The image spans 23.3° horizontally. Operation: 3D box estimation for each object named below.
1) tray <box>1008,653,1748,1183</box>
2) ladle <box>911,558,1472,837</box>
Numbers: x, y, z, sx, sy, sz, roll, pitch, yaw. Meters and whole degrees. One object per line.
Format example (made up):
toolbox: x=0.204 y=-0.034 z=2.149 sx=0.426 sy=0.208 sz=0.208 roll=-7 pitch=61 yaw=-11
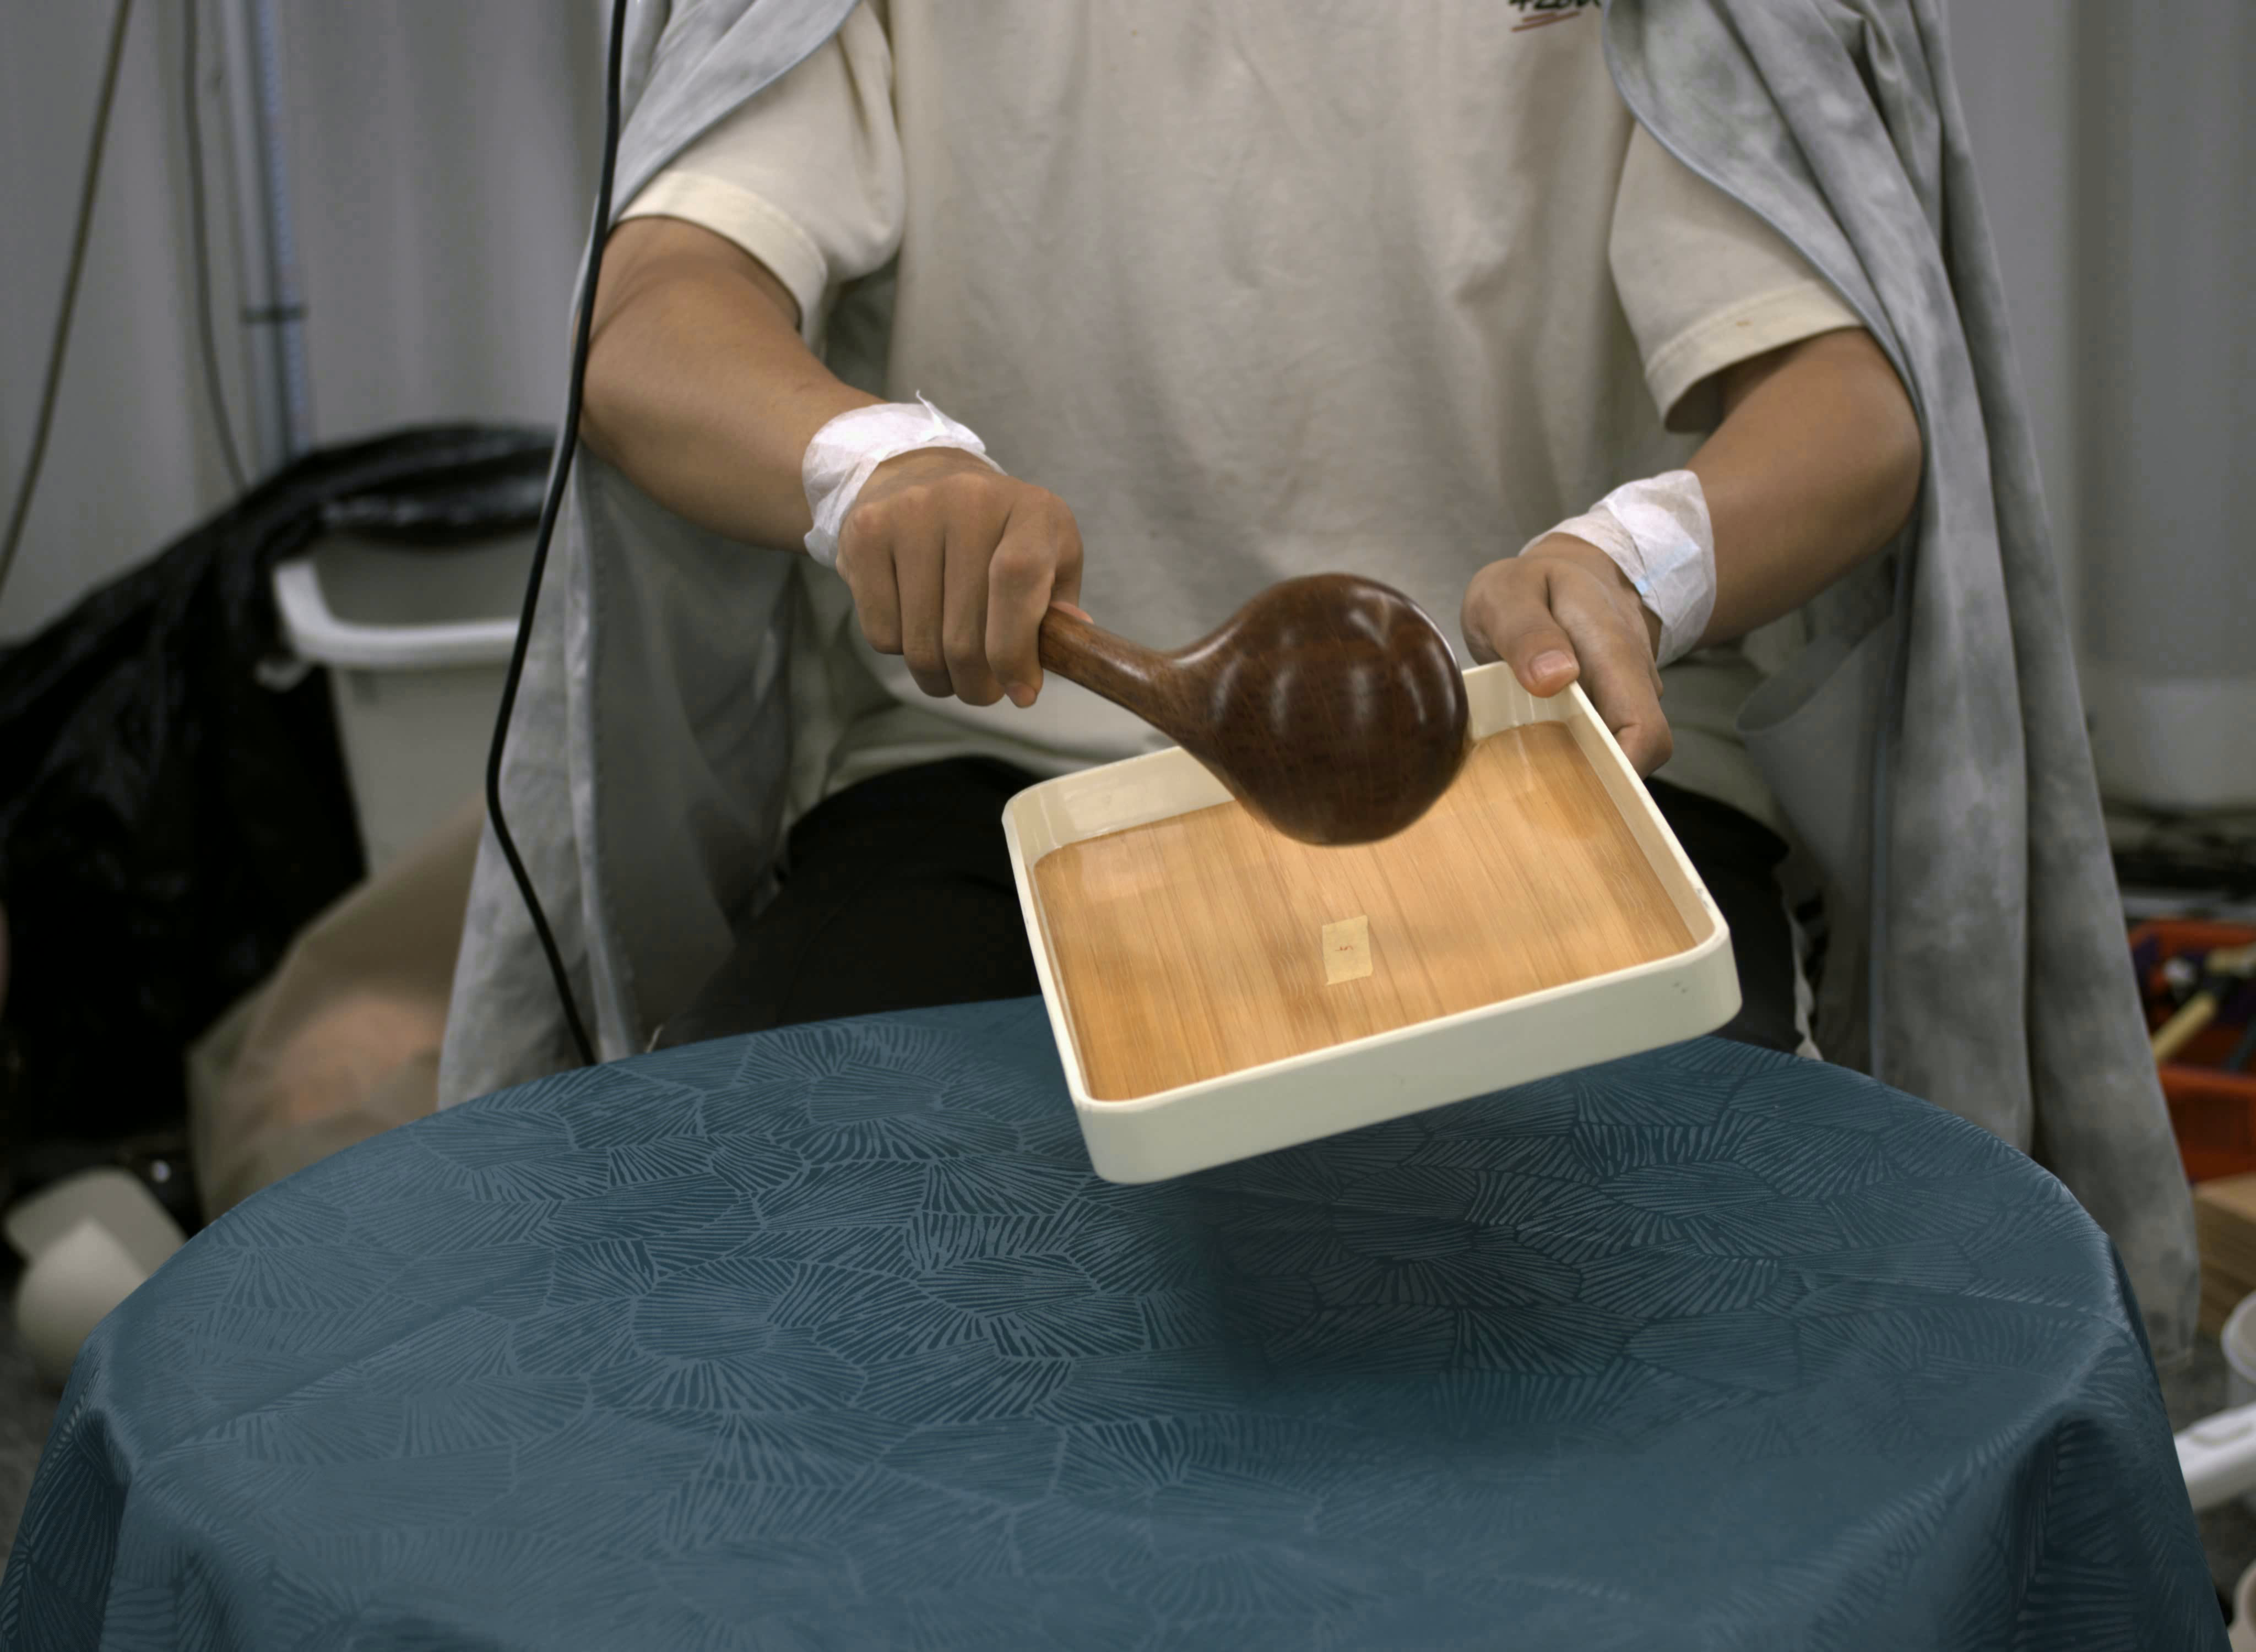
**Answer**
tray: x=0.068 y=0.023 z=1.653 sx=0.191 sy=0.027 sz=0.303 roll=-15 pitch=19 yaw=-1
ladle: x=0.017 y=-0.052 z=1.697 sx=0.076 sy=0.082 sz=0.276 roll=4 pitch=6 yaw=-24
